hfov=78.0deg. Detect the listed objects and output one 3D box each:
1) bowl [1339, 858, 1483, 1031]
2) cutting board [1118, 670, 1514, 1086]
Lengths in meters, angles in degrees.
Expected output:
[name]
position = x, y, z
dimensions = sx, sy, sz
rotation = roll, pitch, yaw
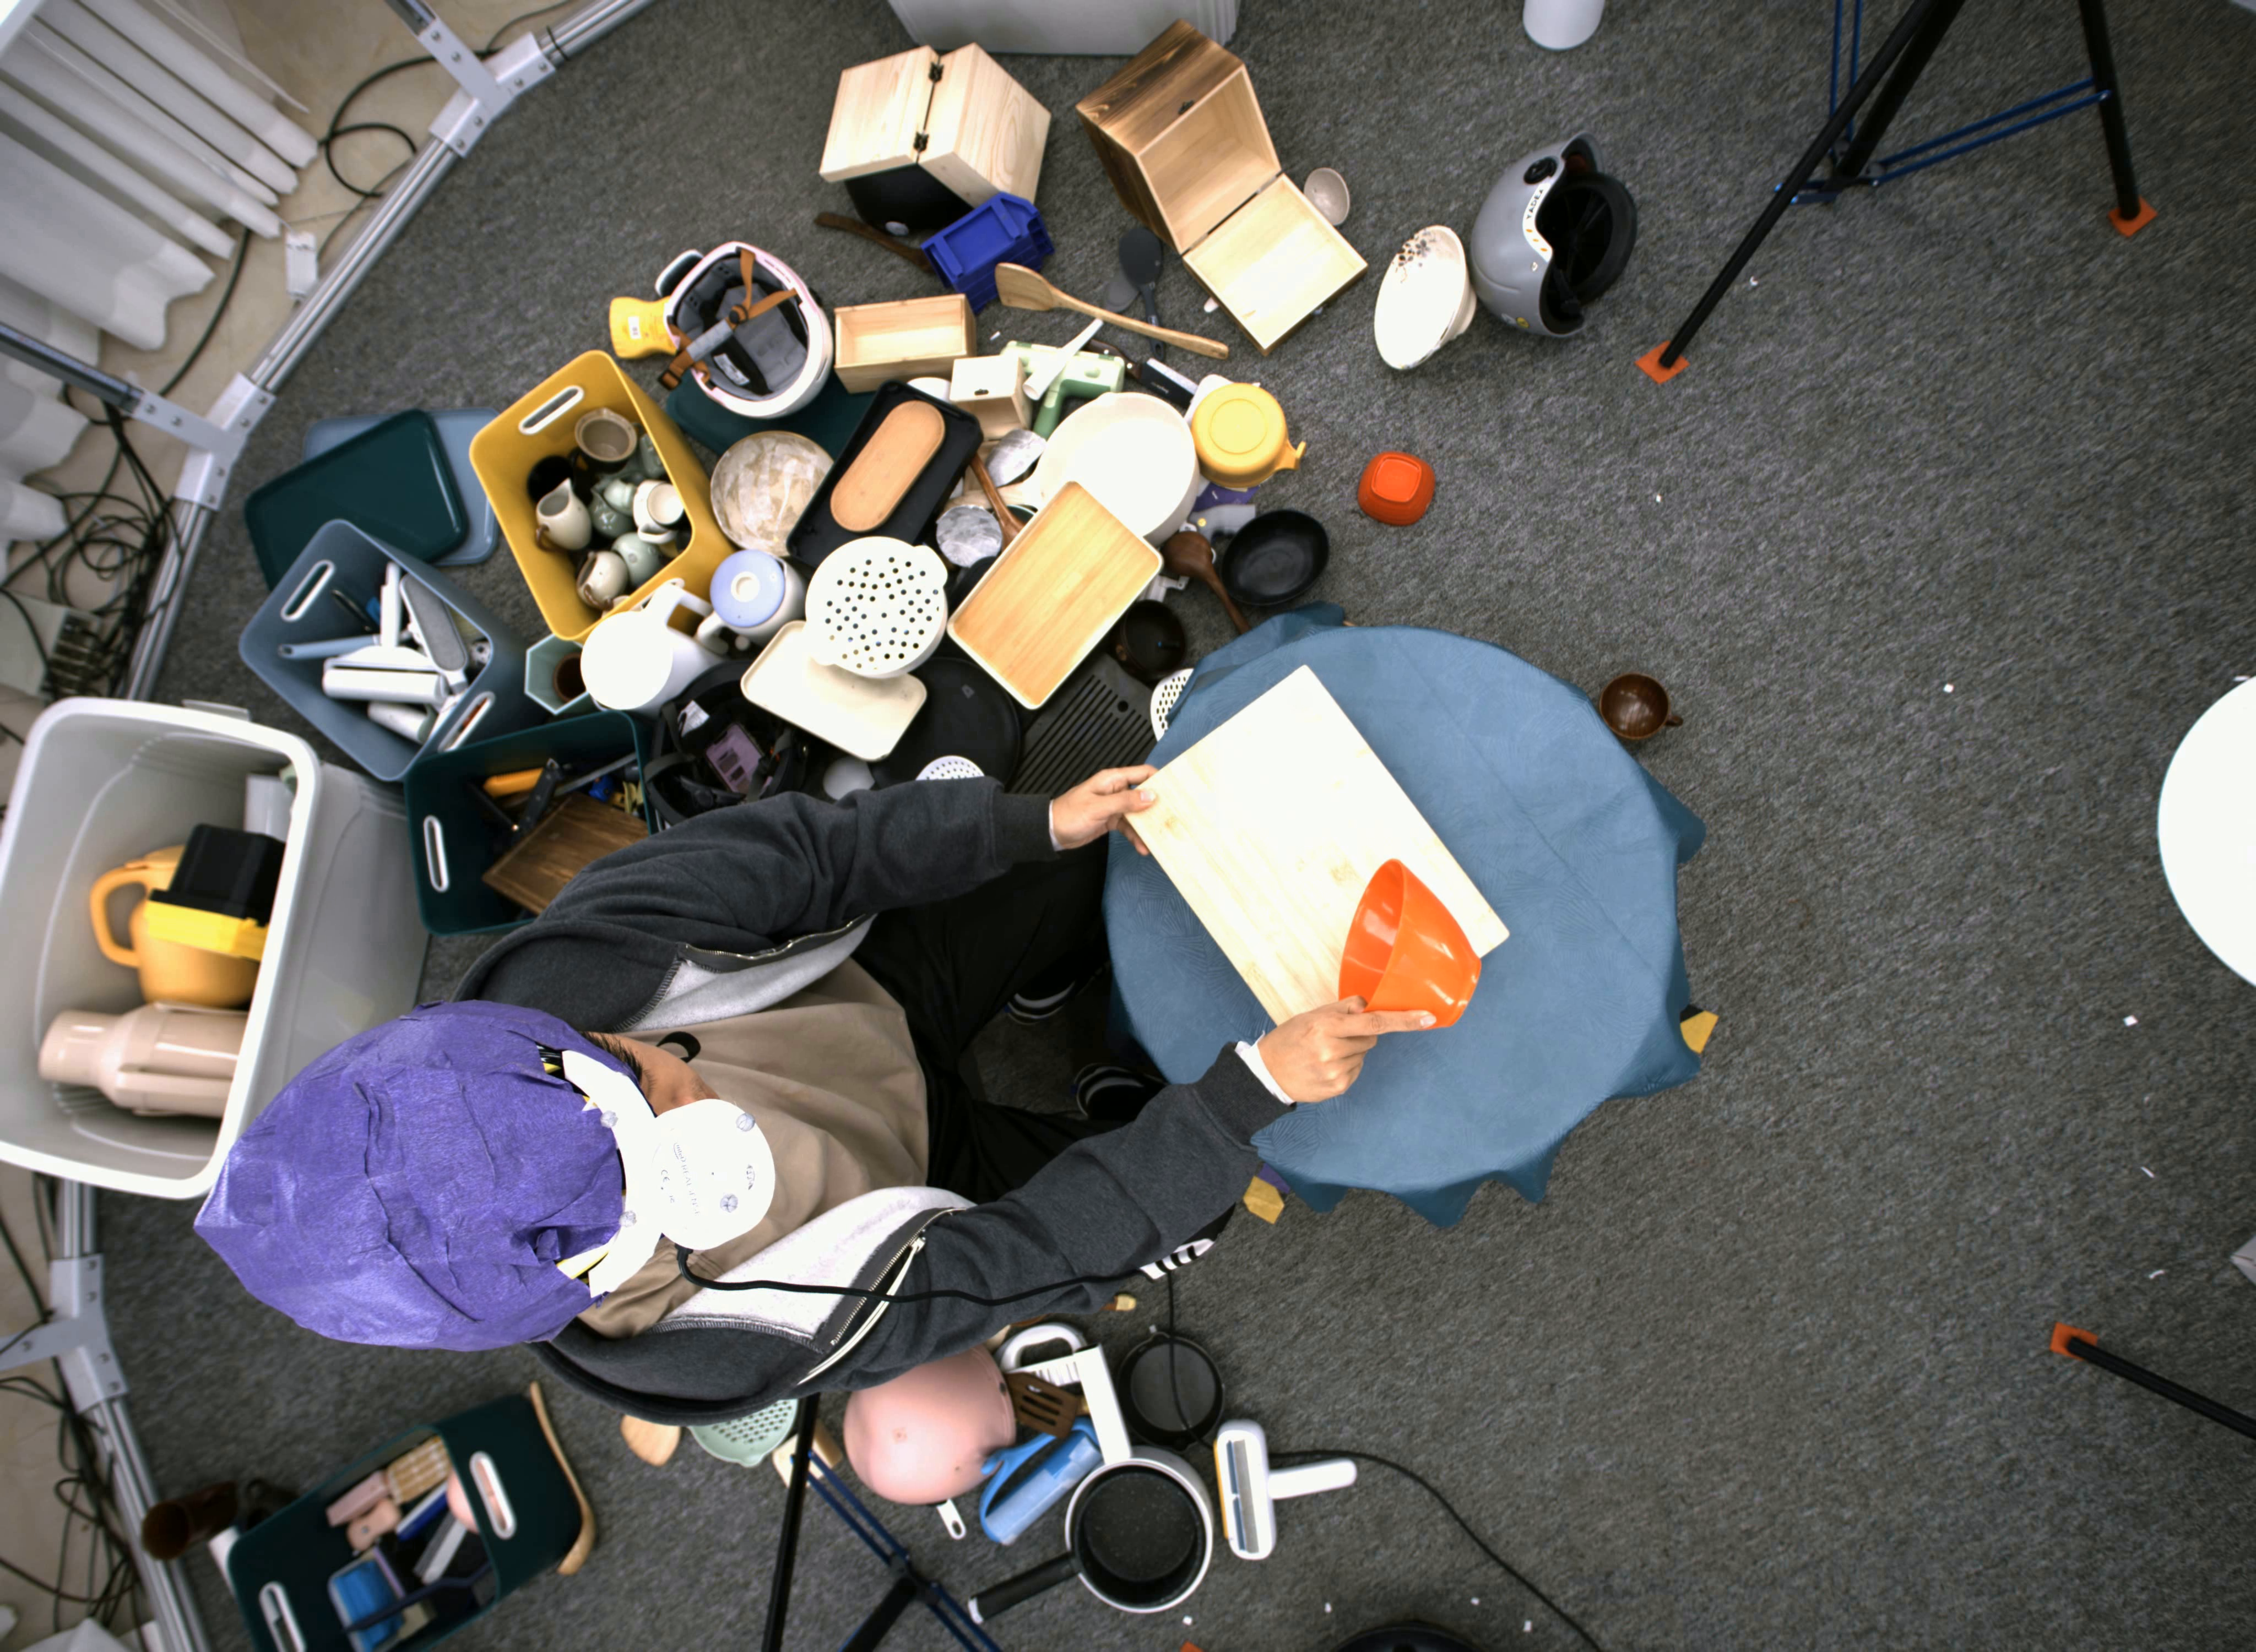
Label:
[bowl]
position = 0.251, 0.114, 1.209
dimensions = 0.105, 0.148, 0.148
rotation = 26, 90, 0
[cutting board]
position = 0.186, 0.047, 1.389
dimensions = 0.251, 0.023, 0.347
rotation = -37, 85, 5
